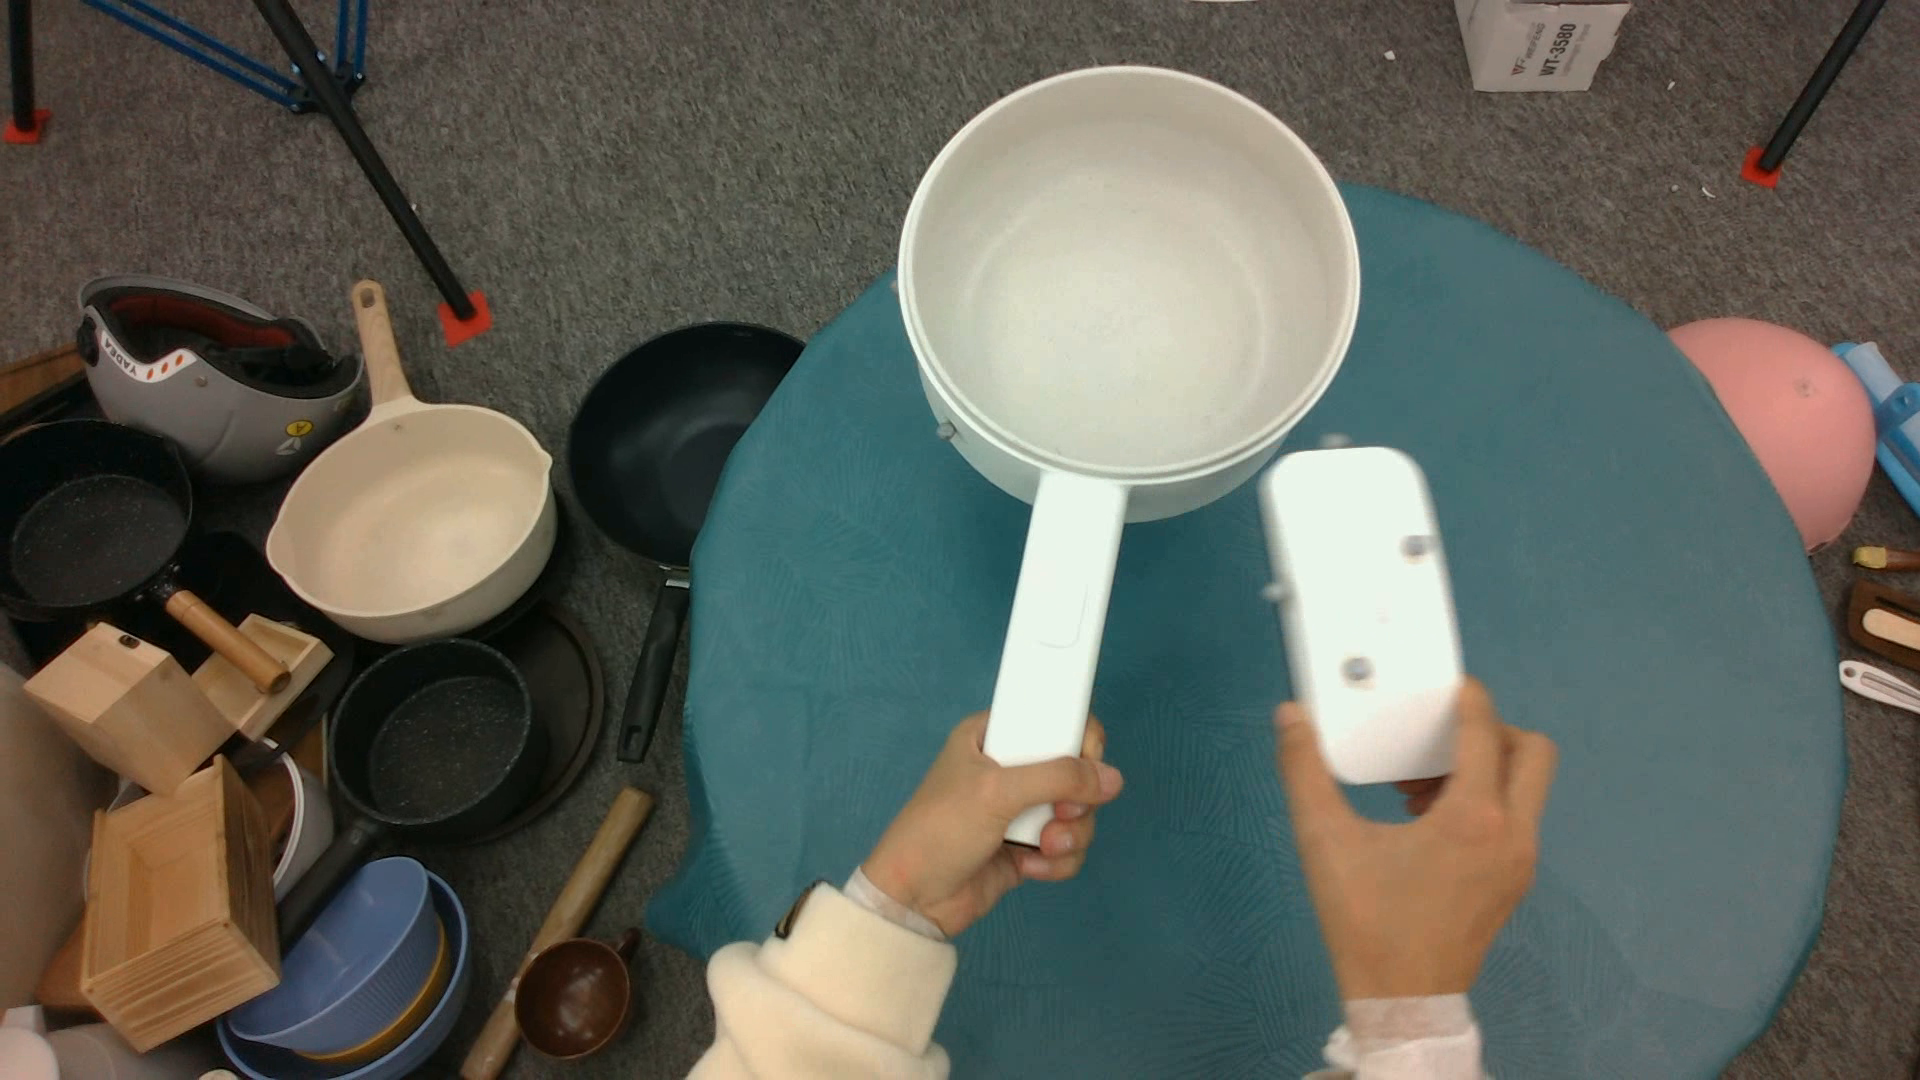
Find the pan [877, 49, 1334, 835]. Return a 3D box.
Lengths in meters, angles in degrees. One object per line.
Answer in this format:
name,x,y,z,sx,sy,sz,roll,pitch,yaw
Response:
pan,0.050,-0.044,0.631,0.201,0.102,0.355,11,76,5

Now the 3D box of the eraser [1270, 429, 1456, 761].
eraser,0.160,0.021,0.553,0.063,0.034,0.131,-2,82,-10
